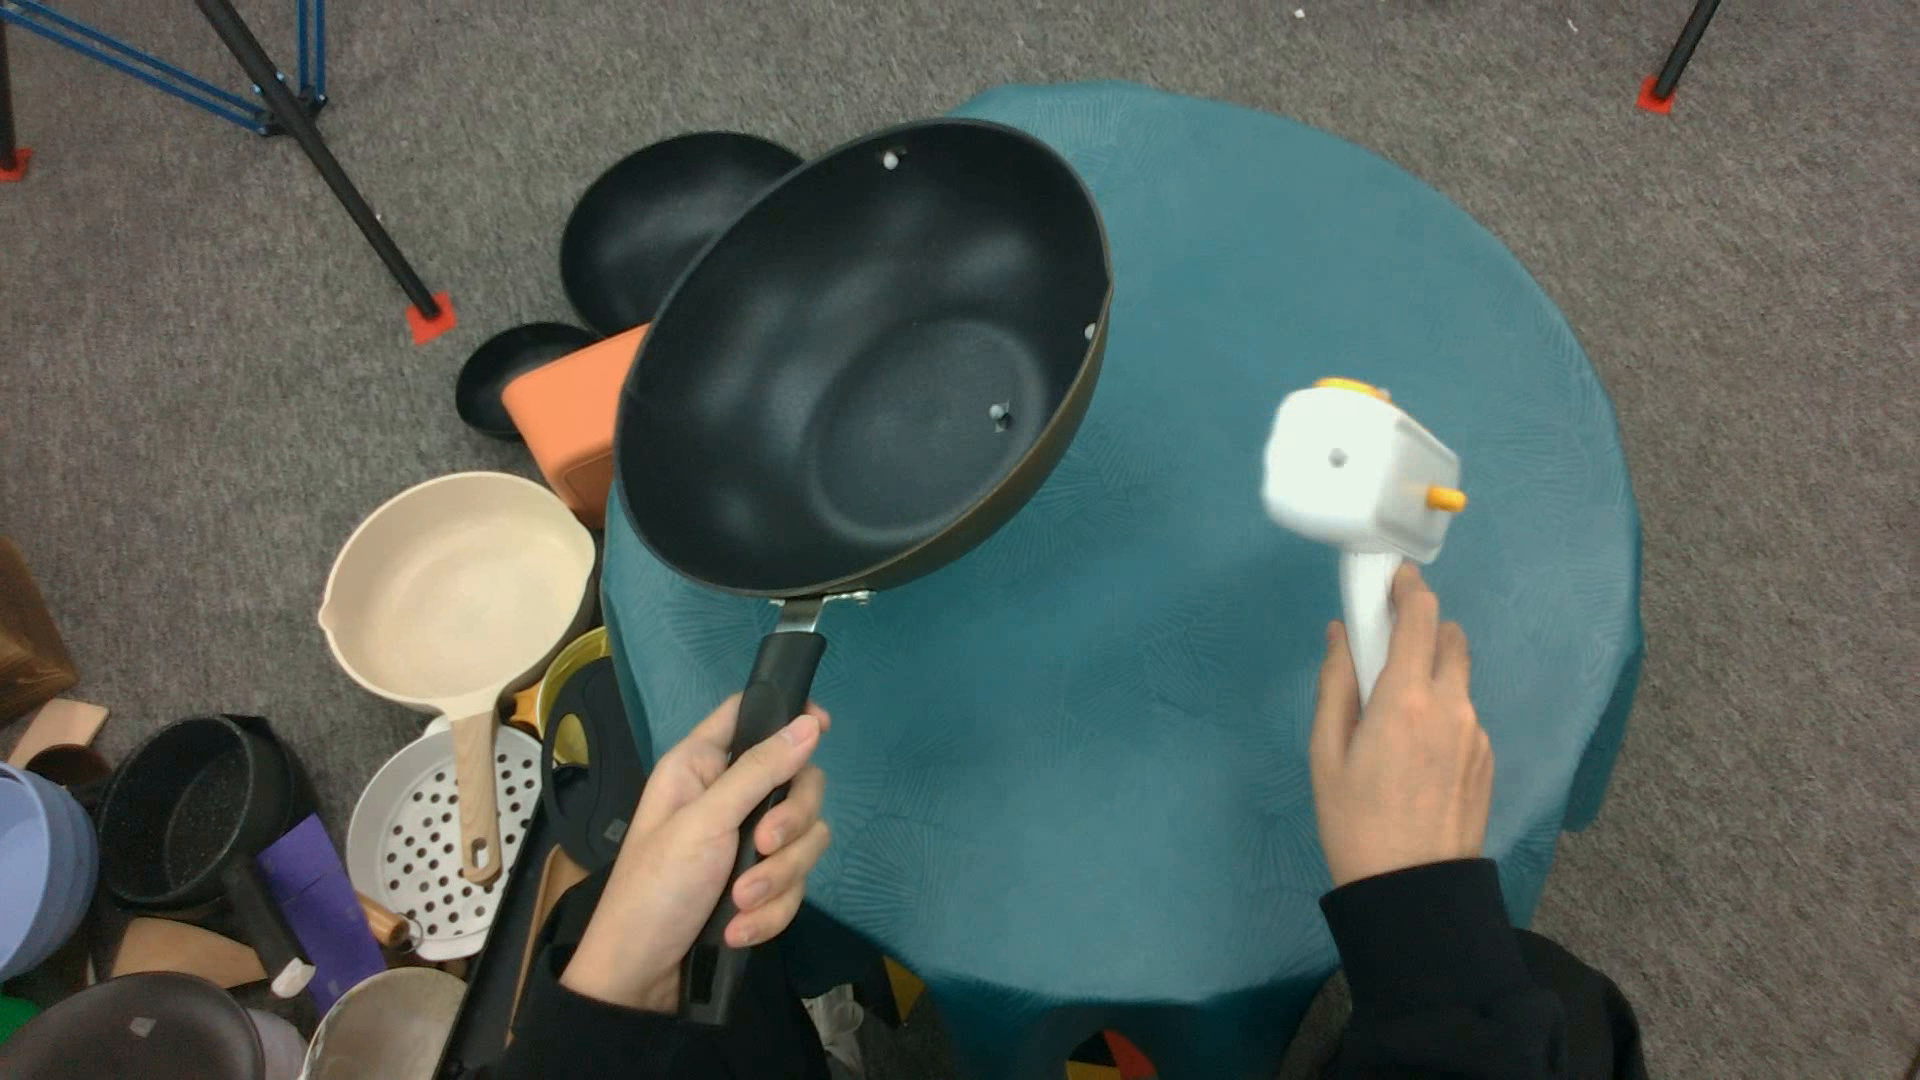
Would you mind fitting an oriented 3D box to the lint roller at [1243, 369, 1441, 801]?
[{"bbox_3d":[0.185,0.024,0.645,0.074,0.193,0.192,3,90,24],"label":"lint roller"}]

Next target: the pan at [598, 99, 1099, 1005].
[{"bbox_3d":[-0.062,-0.009,0.668,0.287,0.087,0.465,-6,60,27],"label":"pan"}]
